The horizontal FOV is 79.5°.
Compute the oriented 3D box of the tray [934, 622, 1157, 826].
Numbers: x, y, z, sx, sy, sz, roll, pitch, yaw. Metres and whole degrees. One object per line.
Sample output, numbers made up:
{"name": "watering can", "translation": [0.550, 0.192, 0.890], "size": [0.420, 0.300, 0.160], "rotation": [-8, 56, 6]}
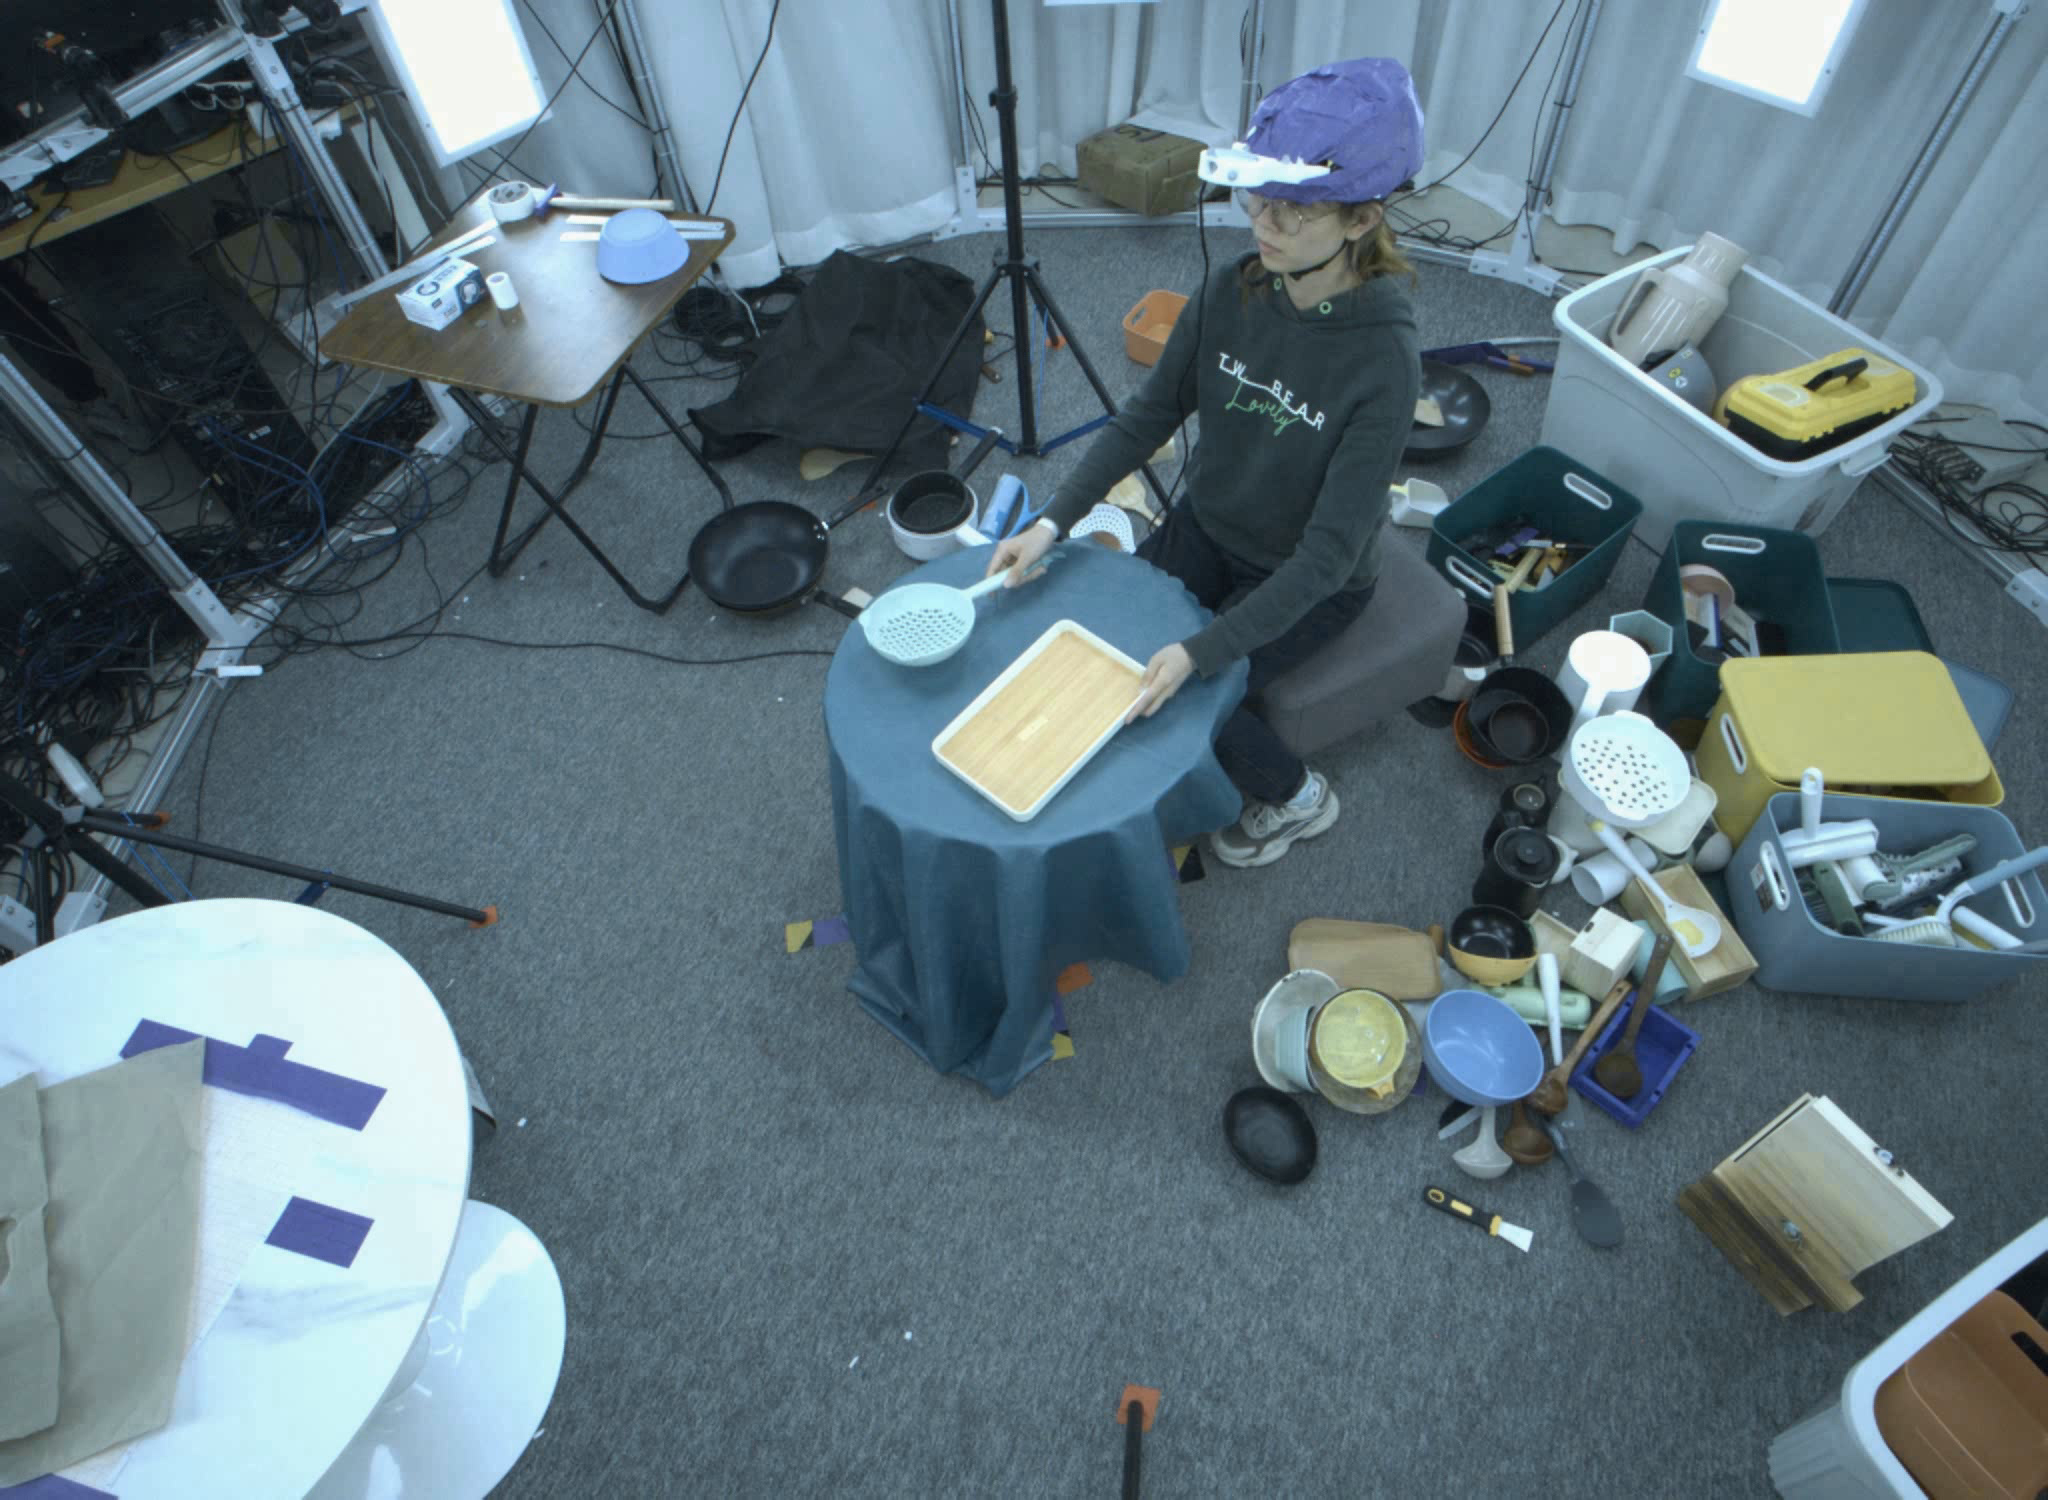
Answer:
{"name": "tray", "translation": [0.033, -0.043, 1.792], "size": [0.188, 0.028, 0.301], "rotation": [37, 70, 24]}

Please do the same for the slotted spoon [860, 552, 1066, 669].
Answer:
{"name": "slotted spoon", "translation": [-0.080, -0.234, 1.907], "size": [0.361, 0.076, 0.166], "rotation": [-37, 56, -17]}
